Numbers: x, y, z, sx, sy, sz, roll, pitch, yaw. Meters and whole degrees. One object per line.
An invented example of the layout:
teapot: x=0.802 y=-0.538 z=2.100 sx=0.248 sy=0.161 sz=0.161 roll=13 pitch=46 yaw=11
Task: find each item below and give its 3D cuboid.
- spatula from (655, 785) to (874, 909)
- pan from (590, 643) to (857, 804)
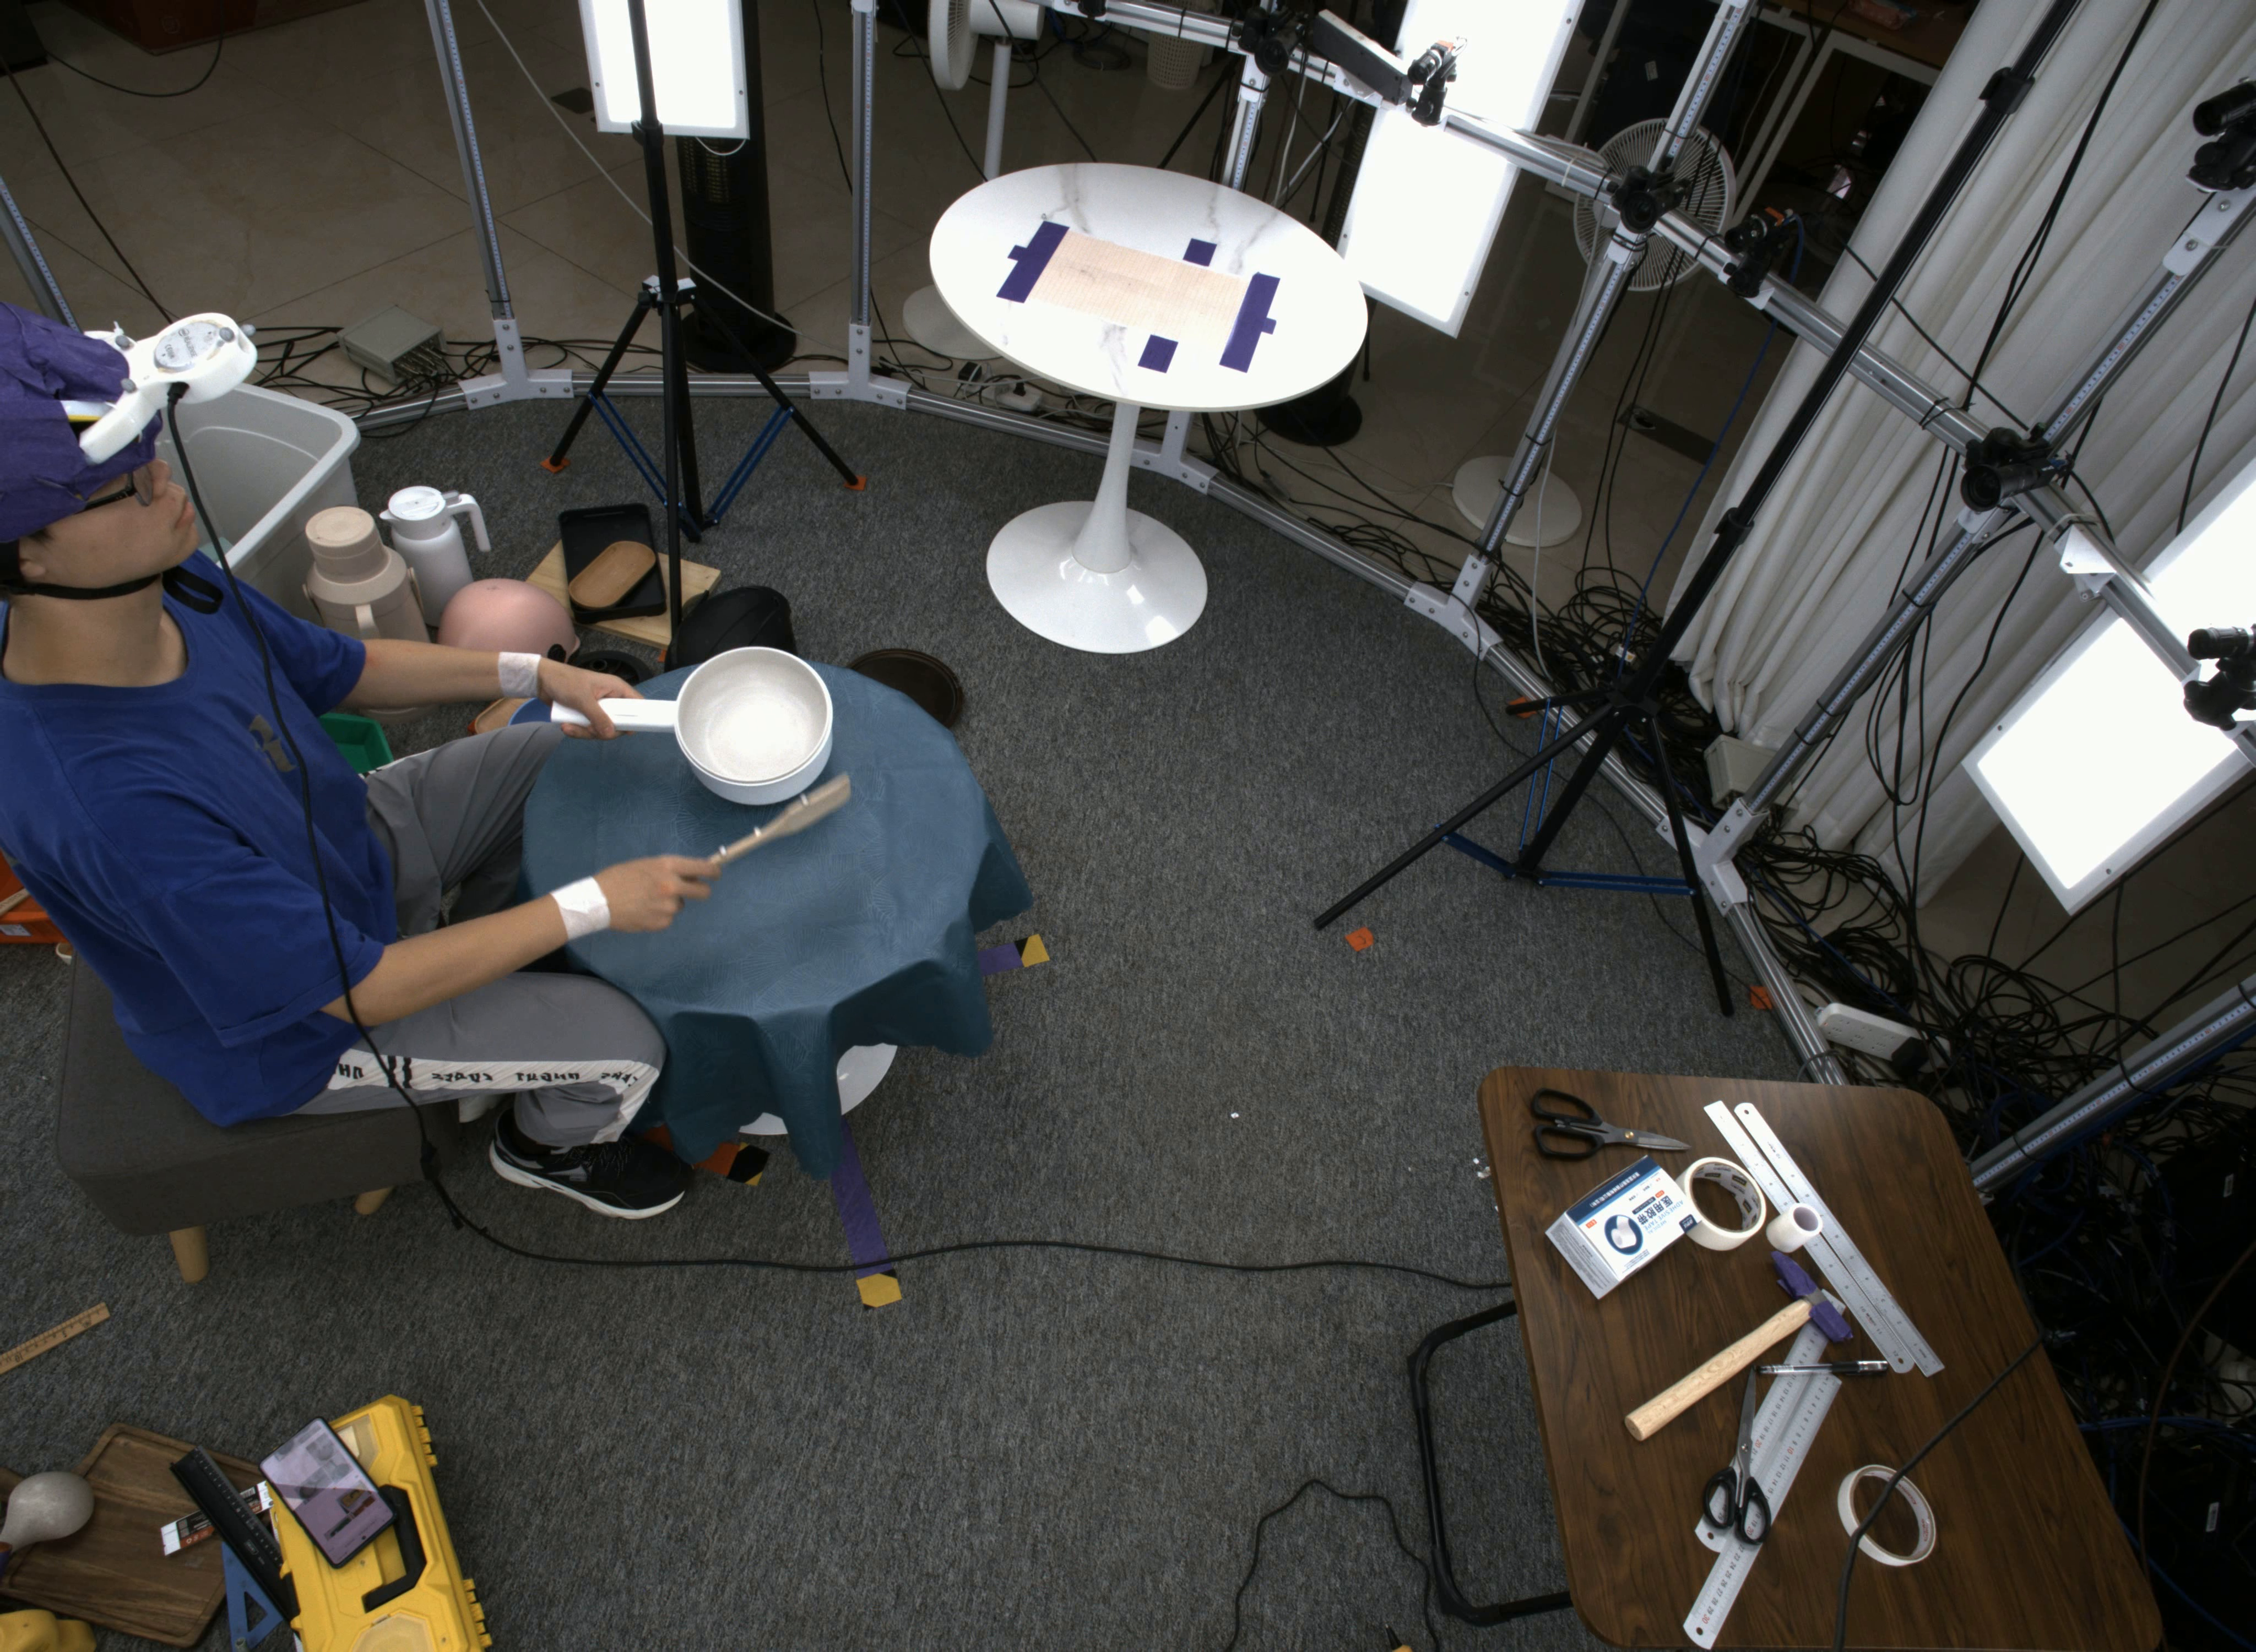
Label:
spatula: x=-0.434 y=0.026 z=1.556 sx=0.293 sy=0.072 sz=0.010 roll=-29 pitch=79 yaw=-20
pan: x=-0.538 y=-0.136 z=1.719 sx=0.354 sy=0.103 sz=0.200 roll=3 pitch=70 yaw=-11
